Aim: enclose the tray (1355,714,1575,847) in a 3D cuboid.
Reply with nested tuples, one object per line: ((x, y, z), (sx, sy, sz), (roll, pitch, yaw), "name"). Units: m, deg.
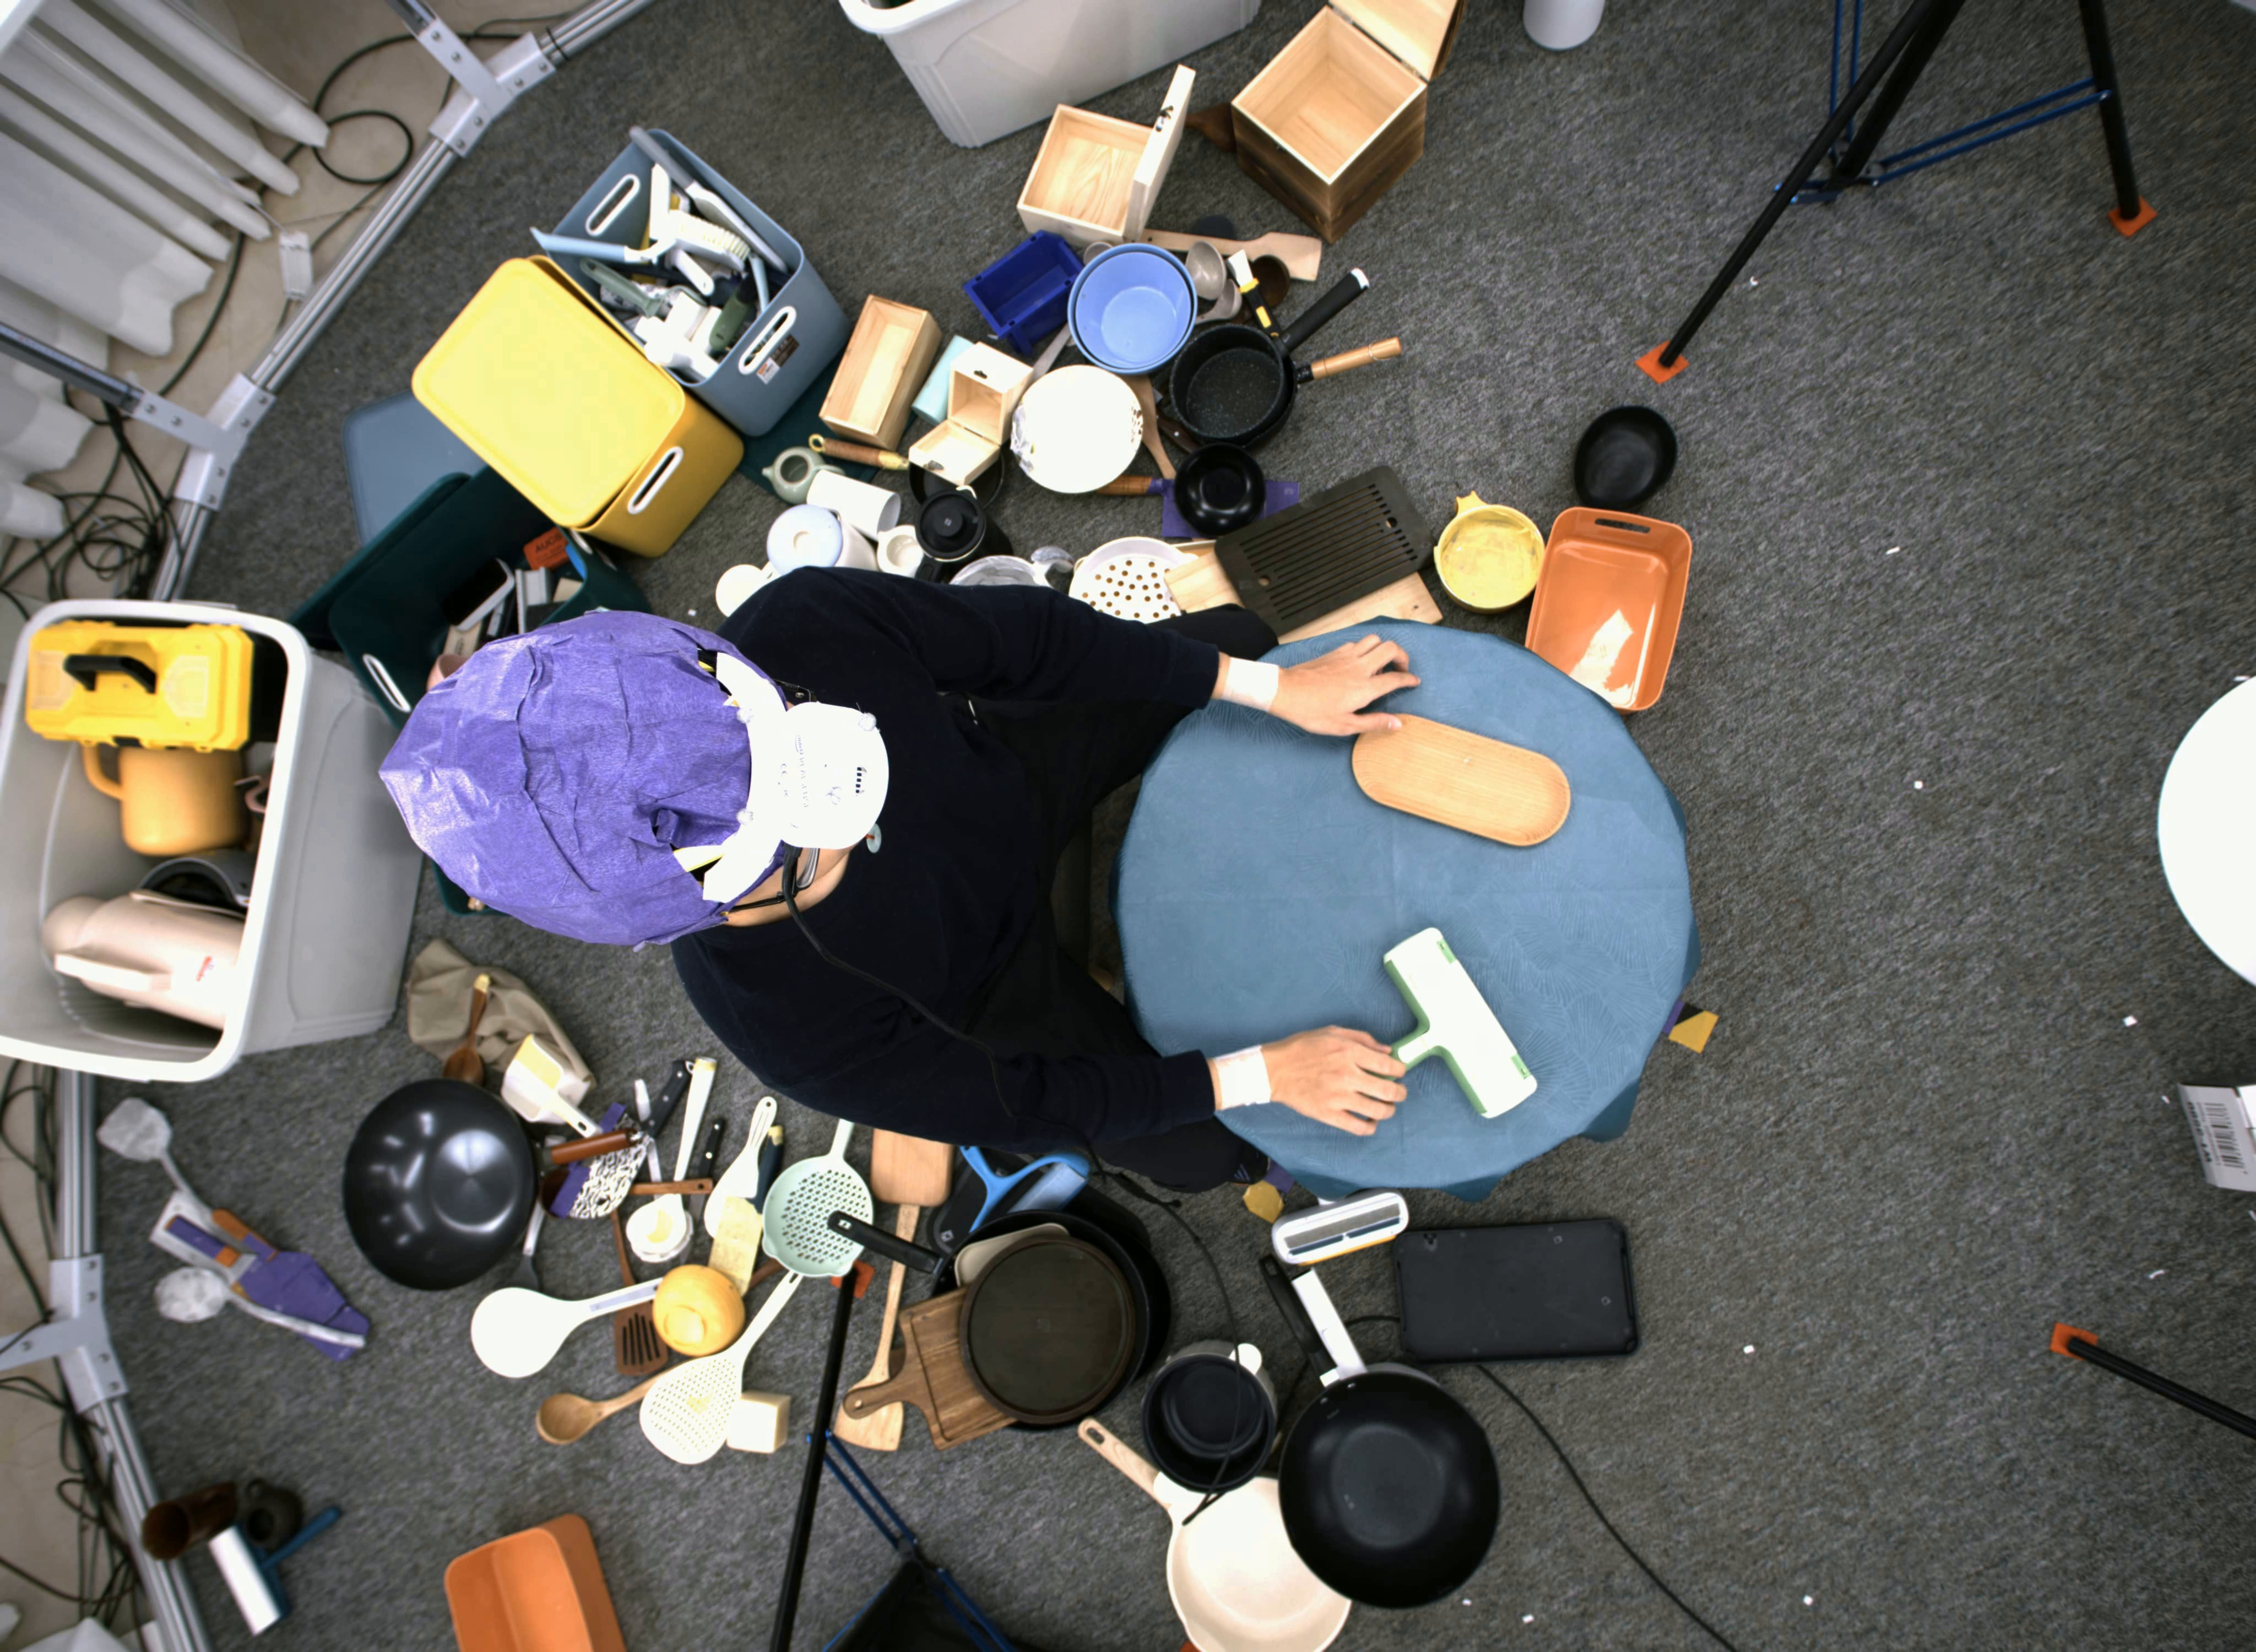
((0.352, -0.050, 1.443), (0.231, 0.020, 0.101), (18, 91, 9), "tray")

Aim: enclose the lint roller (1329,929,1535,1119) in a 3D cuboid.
((0.285, 0.230, 1.404), (0.183, 0.082, 0.197), (-32, 81, 1), "lint roller")
